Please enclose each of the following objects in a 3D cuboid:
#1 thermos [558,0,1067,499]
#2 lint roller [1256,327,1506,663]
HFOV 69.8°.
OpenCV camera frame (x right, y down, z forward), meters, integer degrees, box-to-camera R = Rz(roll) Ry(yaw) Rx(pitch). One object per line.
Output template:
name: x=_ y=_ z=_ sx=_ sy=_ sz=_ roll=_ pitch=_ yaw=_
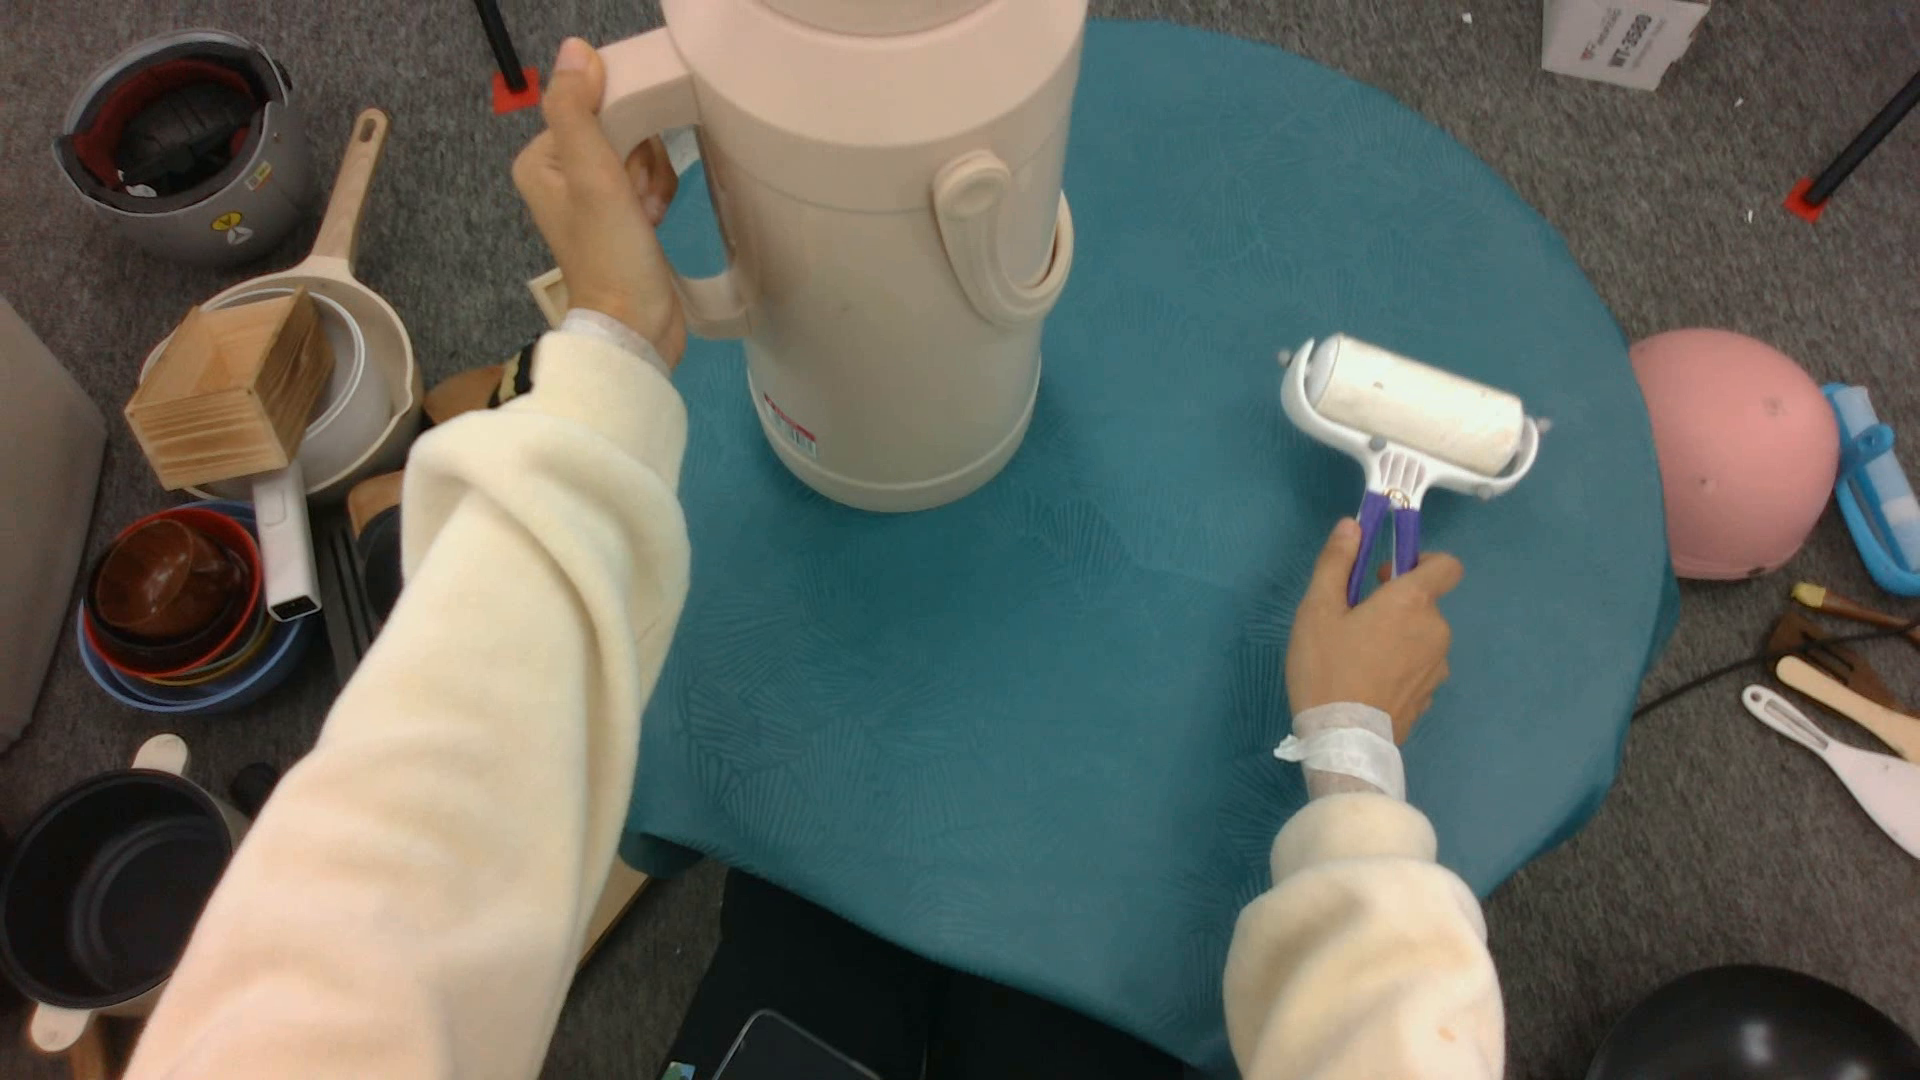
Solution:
thermos: x=-0.053 y=-0.168 z=0.593 sx=0.207 sy=0.405 sz=0.175 roll=-23 pitch=70 yaw=-12
lint roller: x=0.205 y=-0.024 z=0.693 sx=0.133 sy=0.050 sz=0.182 roll=21 pitch=54 yaw=-2
